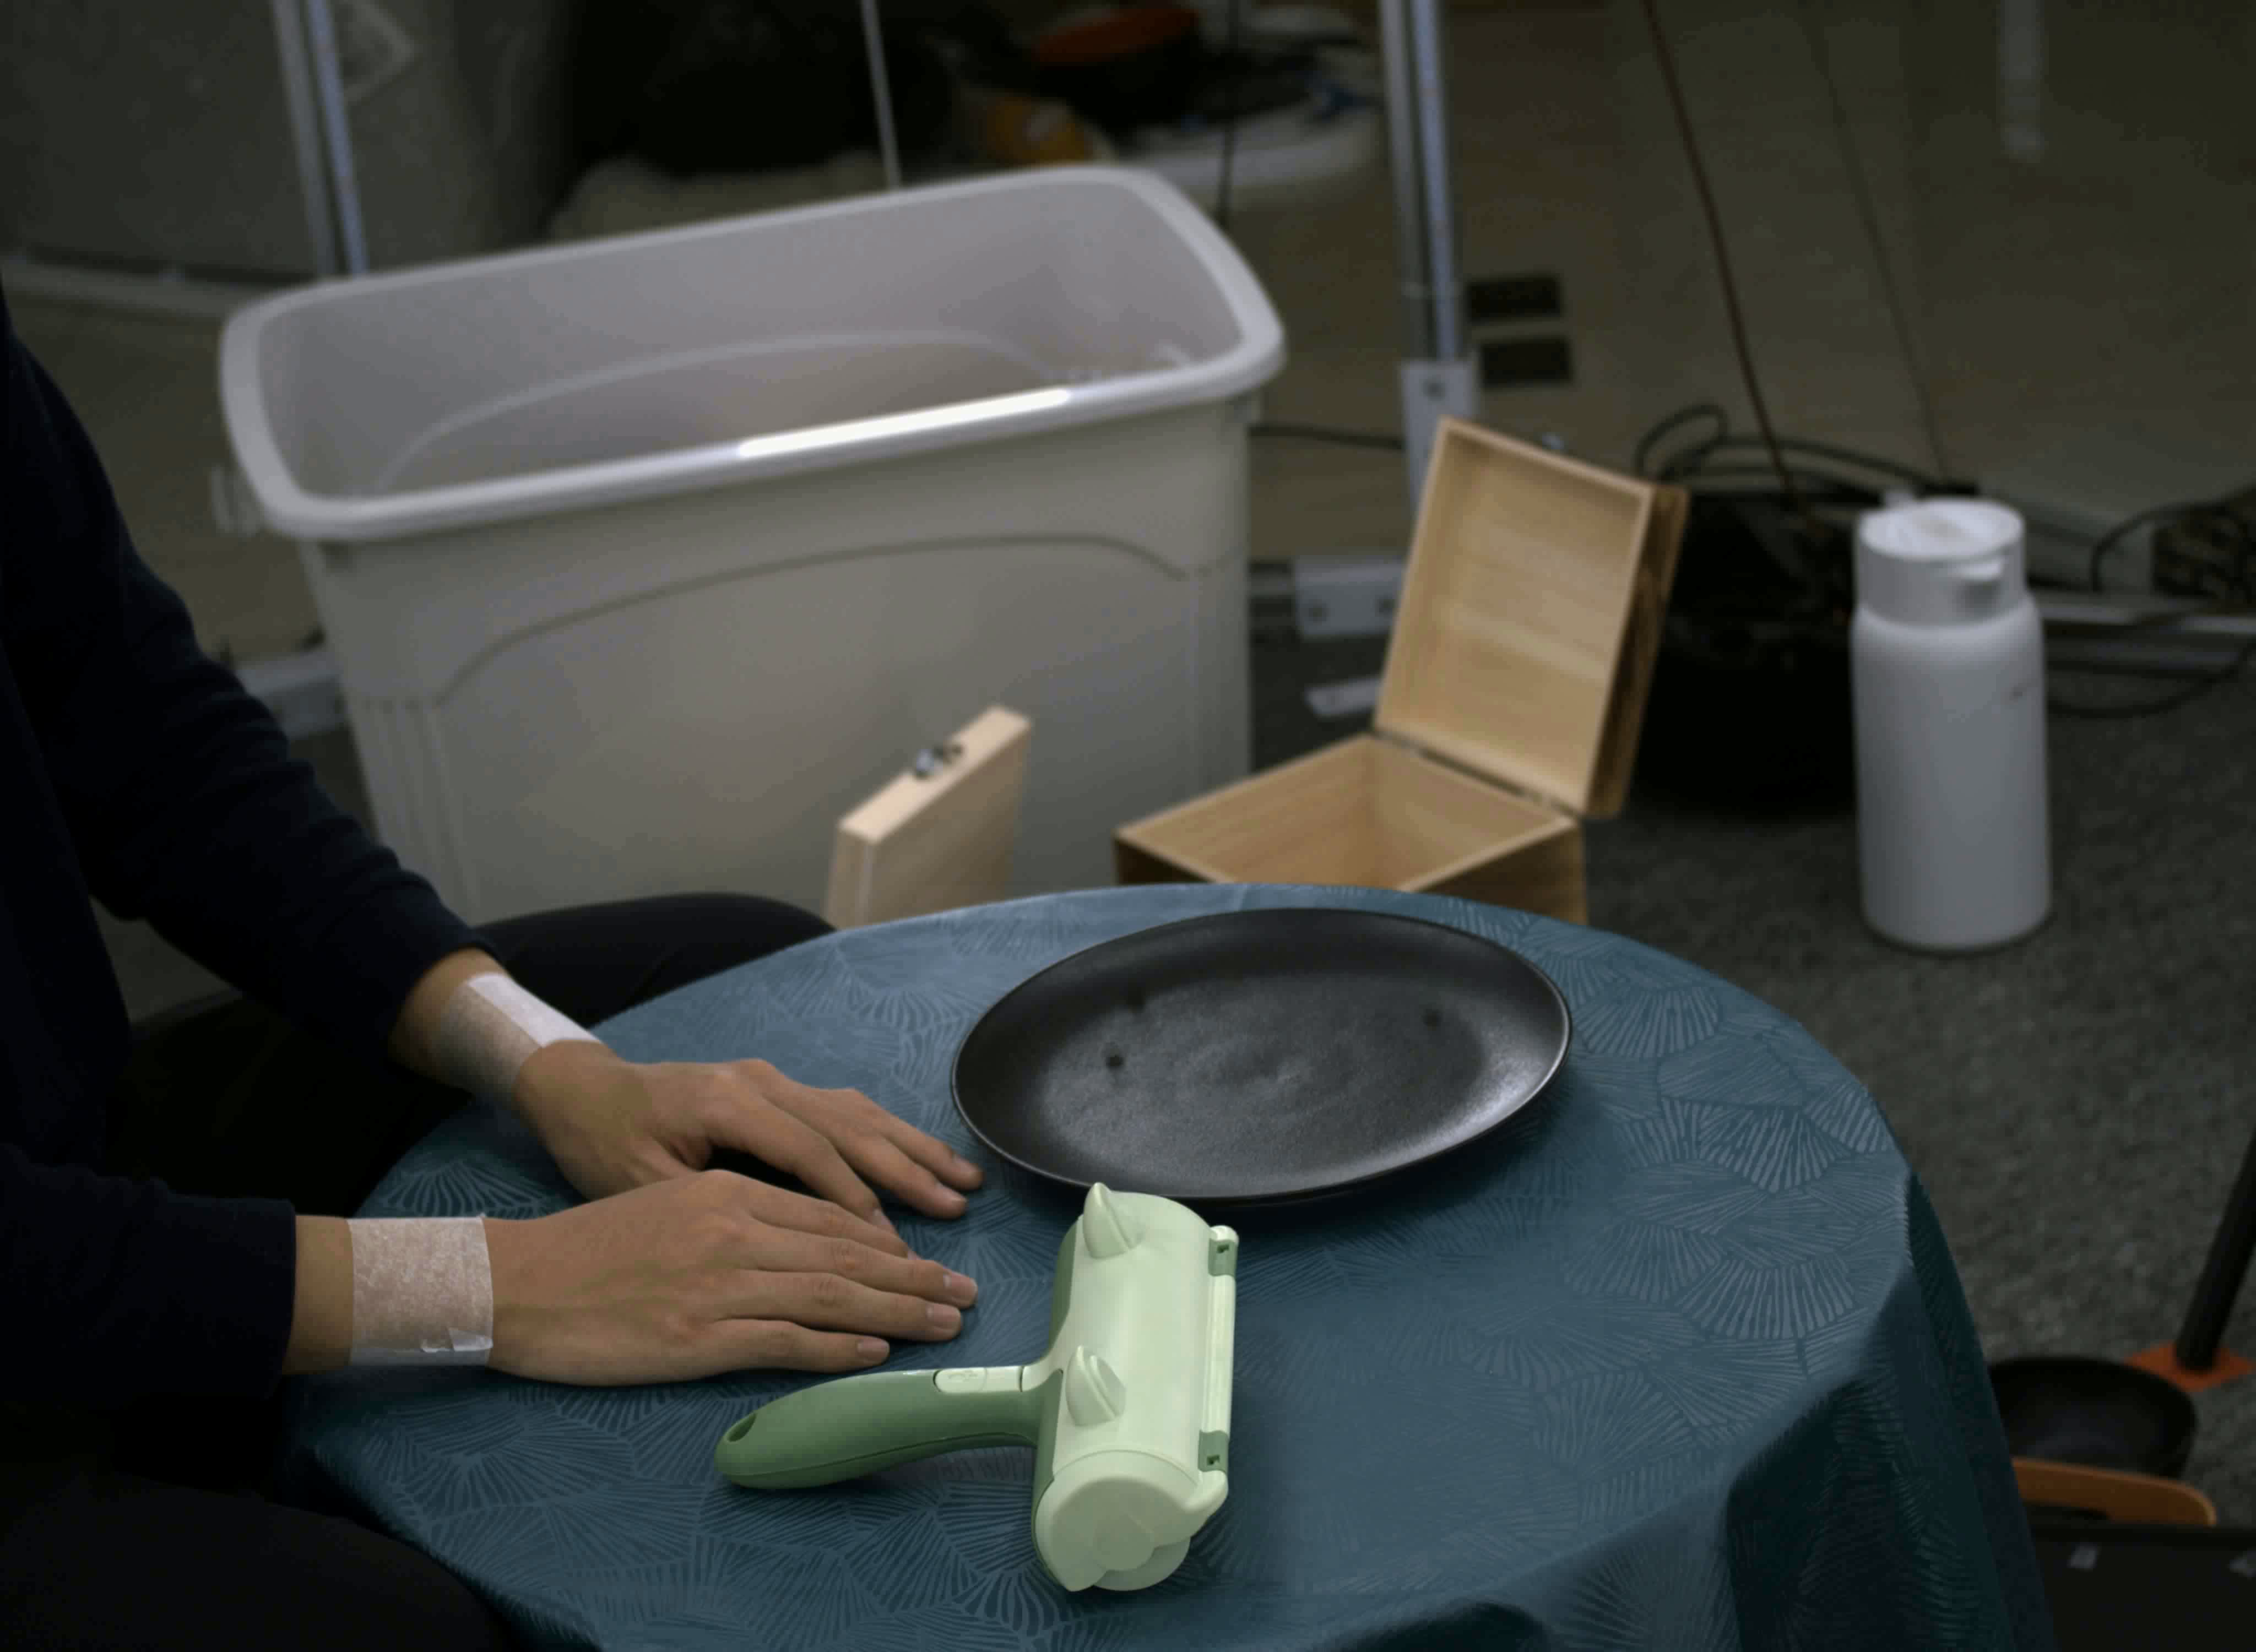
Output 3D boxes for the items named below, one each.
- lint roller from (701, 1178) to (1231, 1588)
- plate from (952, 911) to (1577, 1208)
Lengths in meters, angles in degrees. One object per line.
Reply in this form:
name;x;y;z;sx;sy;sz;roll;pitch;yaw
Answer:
lint roller;-0.057;0.185;1.960;0.183;0.083;0.196;1;24;1
plate;0.054;0.094;2.201;0.244;0.024;0.241;-5;25;3
